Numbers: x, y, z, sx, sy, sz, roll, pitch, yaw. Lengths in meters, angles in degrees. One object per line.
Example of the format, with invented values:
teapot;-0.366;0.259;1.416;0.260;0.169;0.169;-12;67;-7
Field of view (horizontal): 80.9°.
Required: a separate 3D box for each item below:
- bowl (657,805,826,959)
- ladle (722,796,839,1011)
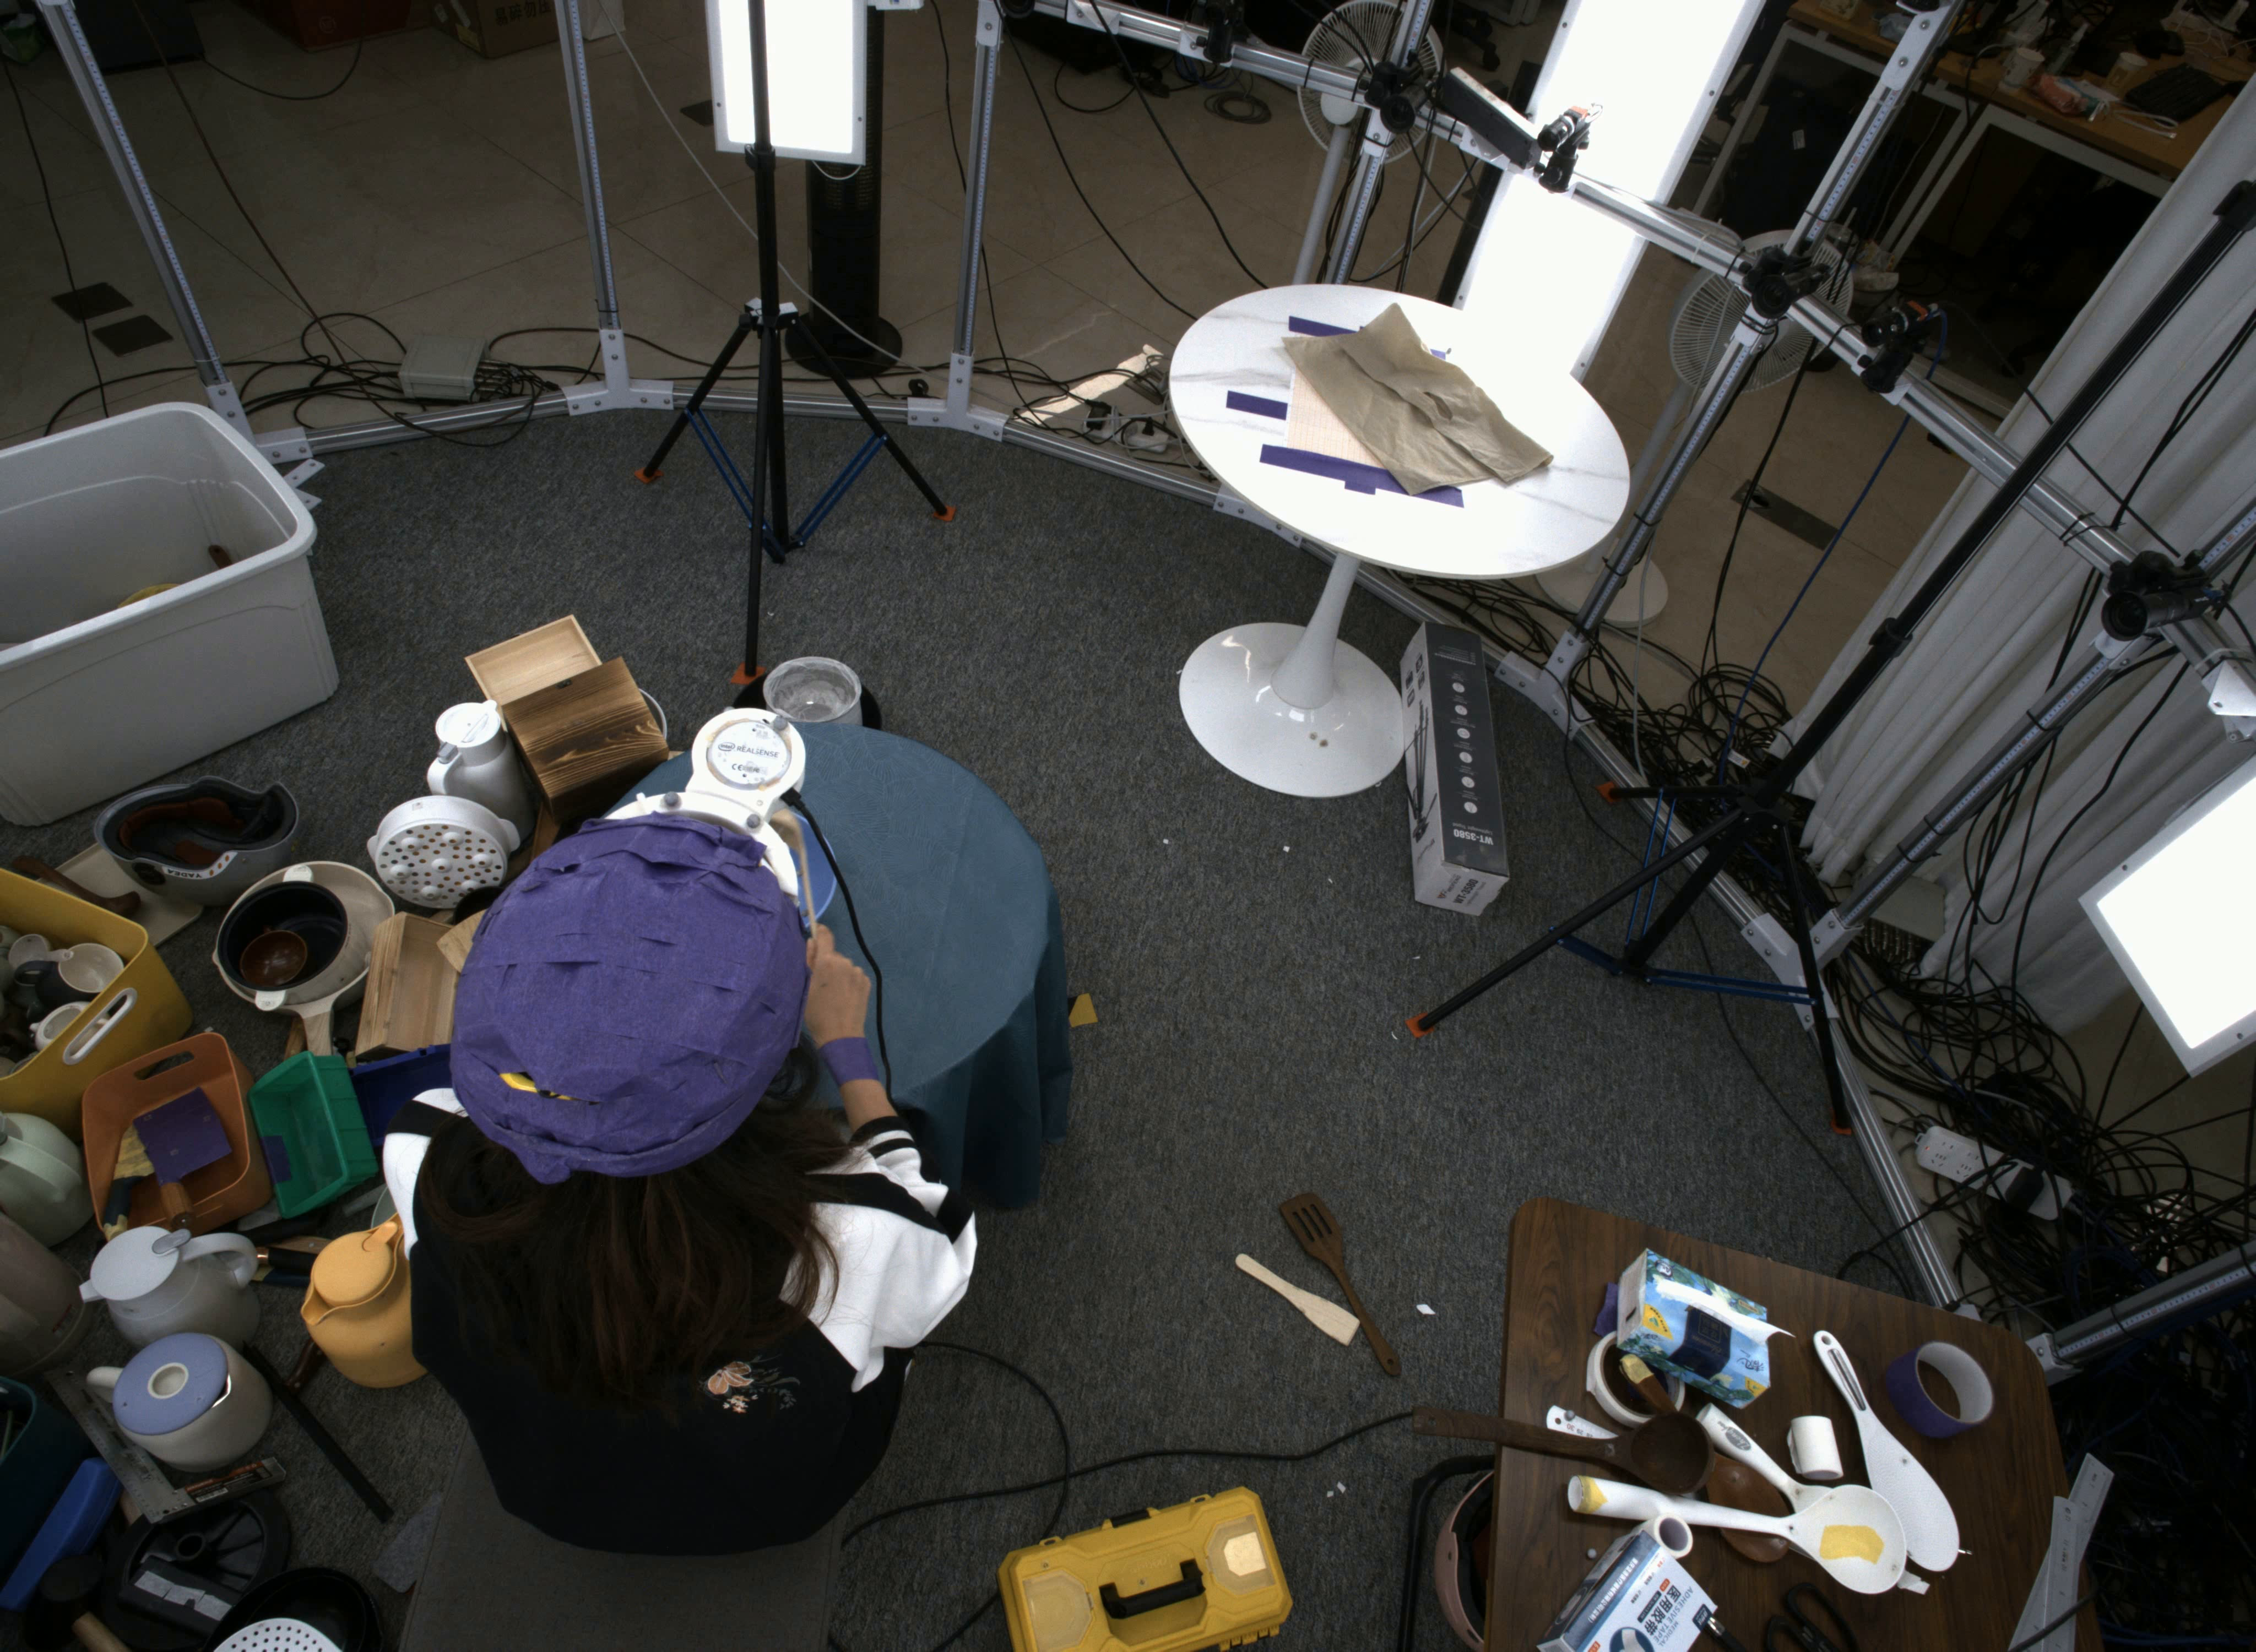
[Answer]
bowl;-0.469;0.081;1.571;0.197;0.096;0.193;10;55;-13
ladle;-0.383;0.086;1.417;0.074;0.072;0.251;-8;69;-33
